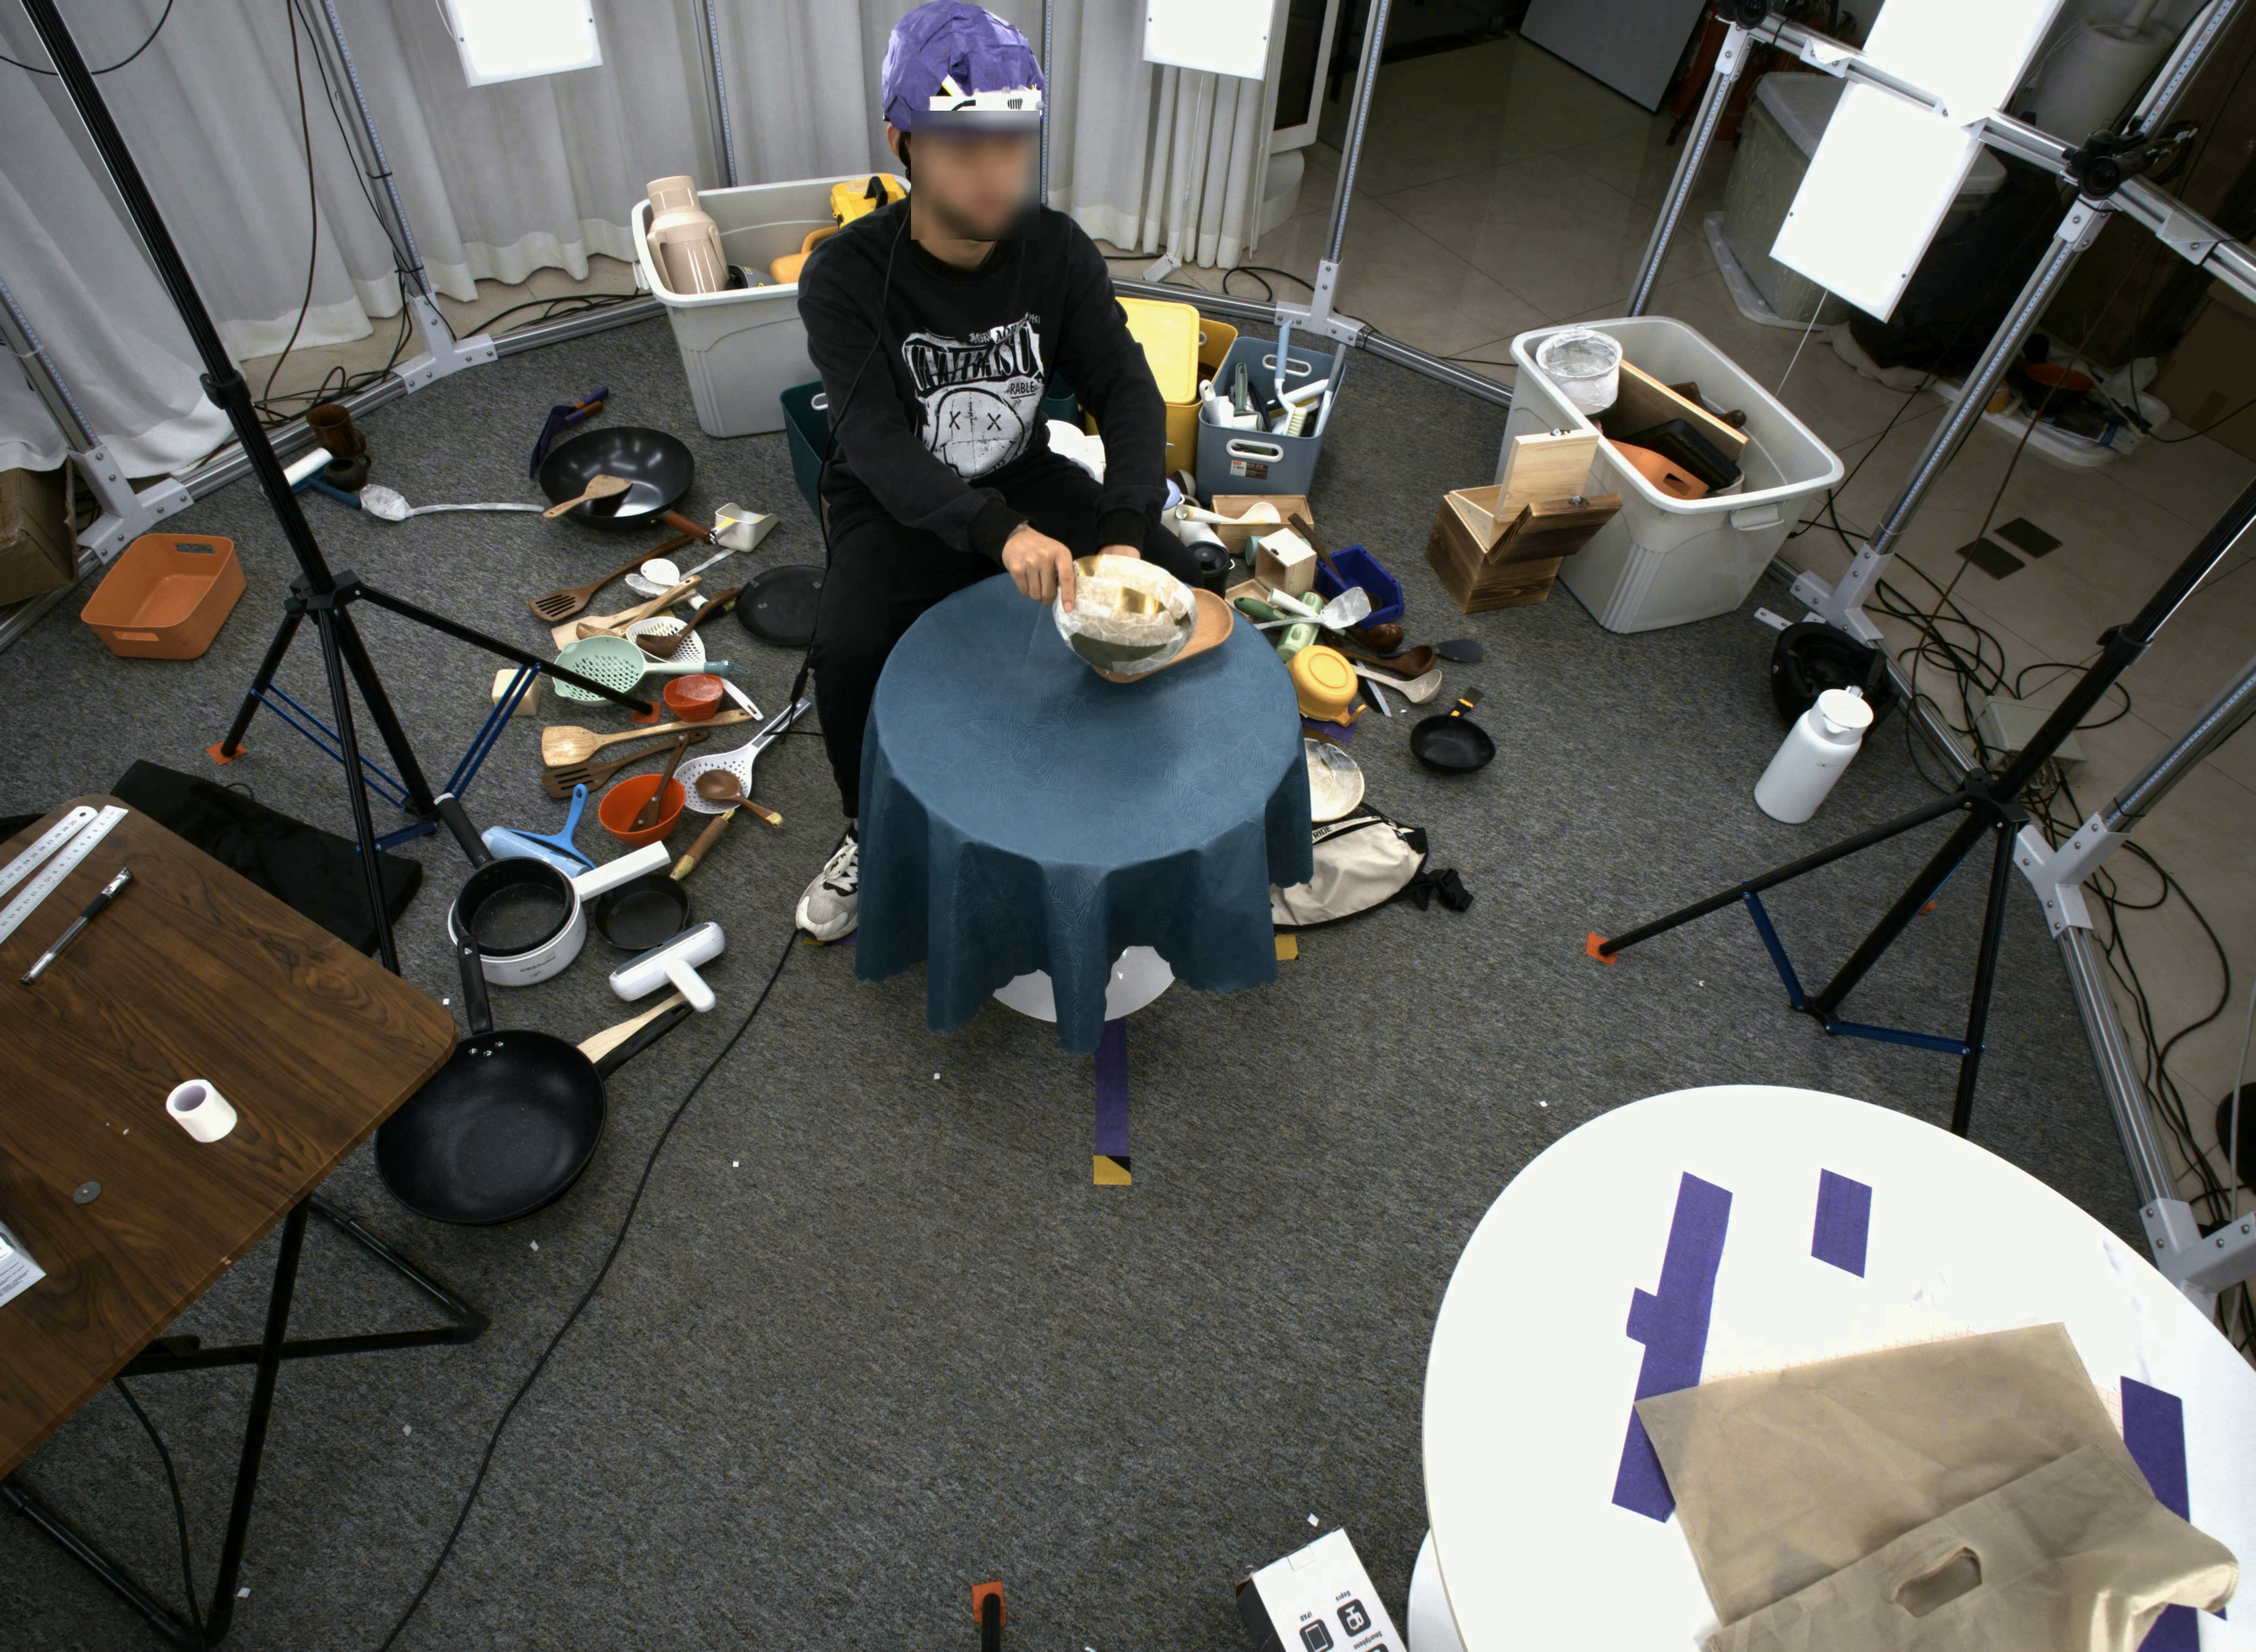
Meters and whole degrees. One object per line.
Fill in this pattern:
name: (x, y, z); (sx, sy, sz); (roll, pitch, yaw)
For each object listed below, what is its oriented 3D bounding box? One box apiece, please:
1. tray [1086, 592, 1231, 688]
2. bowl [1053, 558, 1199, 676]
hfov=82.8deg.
tray: (0.045, -0.272, 1.874); (0.232, 0.020, 0.103); (-26, 69, -18)
bowl: (-0.012, -0.264, 1.742); (0.215, 0.210, 0.096); (12, 66, 6)
